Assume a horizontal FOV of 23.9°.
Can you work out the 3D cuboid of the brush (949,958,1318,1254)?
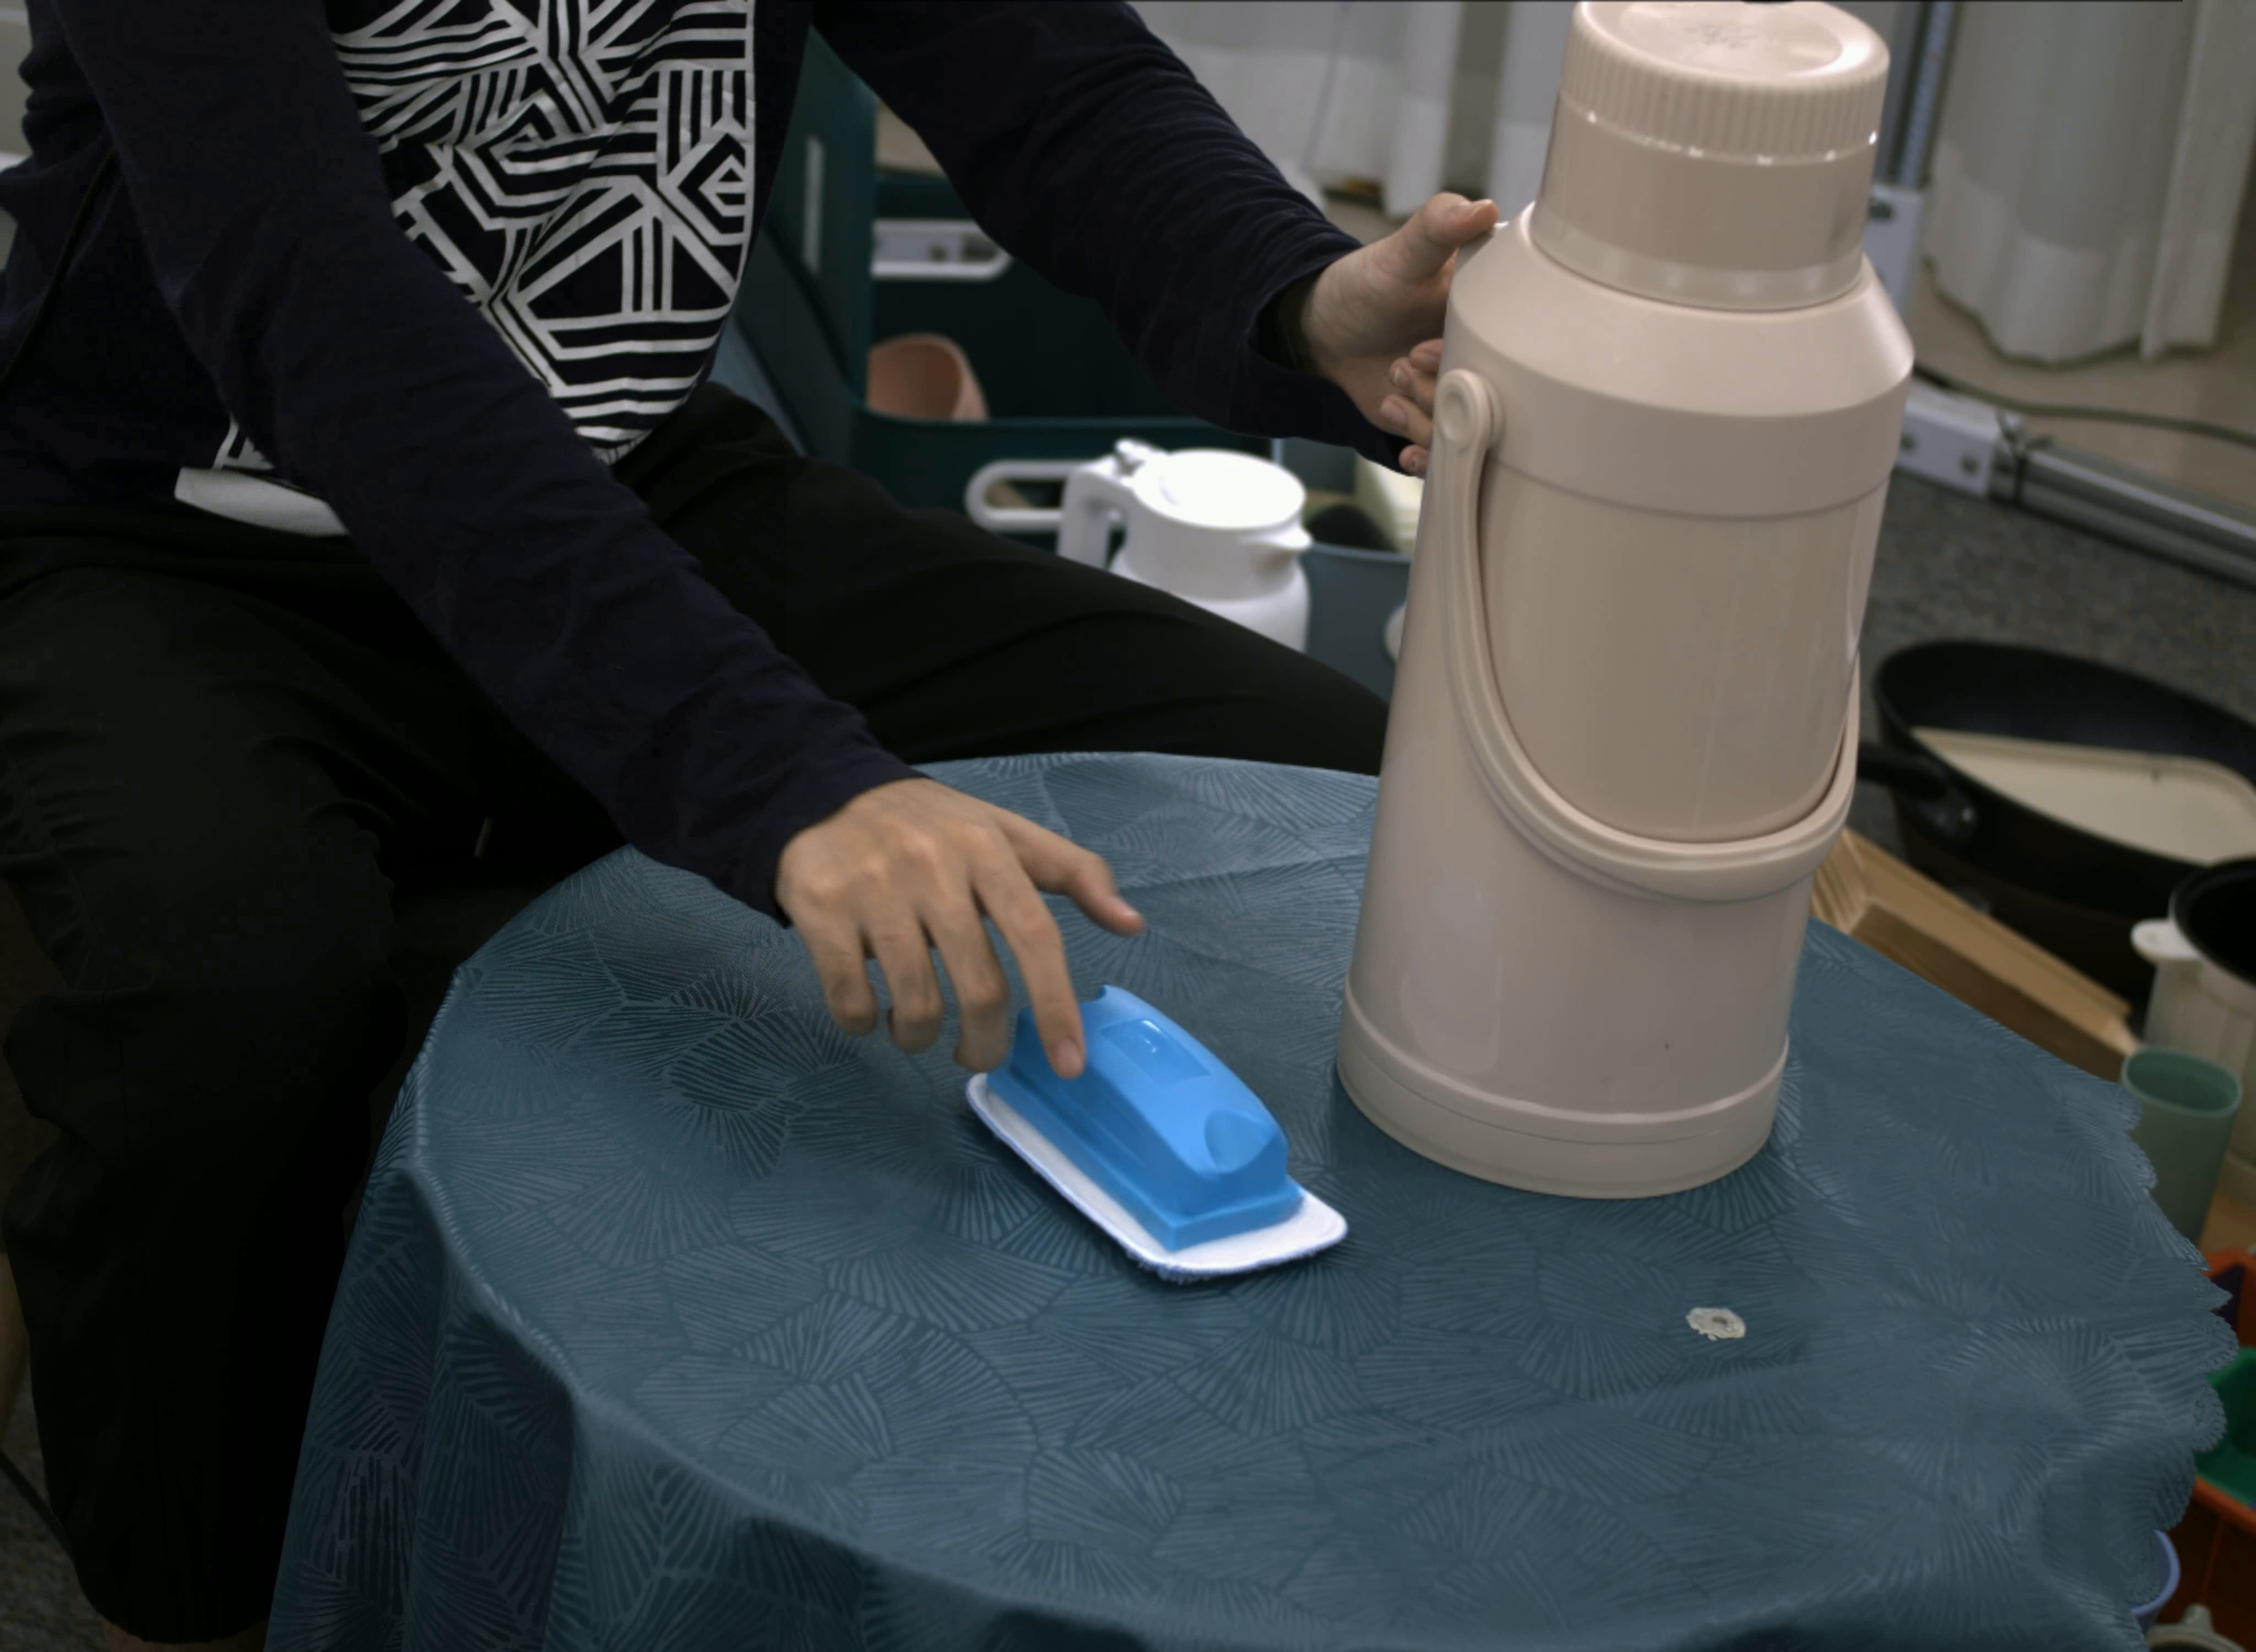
[{"bbox_3d":[0.005,0.090,1.804,0.083,0.056,0.145,-6,33,-31],"label":"brush"}]

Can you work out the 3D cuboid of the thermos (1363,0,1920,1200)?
[{"bbox_3d":[0.172,-0.089,1.825,0.174,0.405,0.209,-11,30,-29],"label":"thermos"}]
